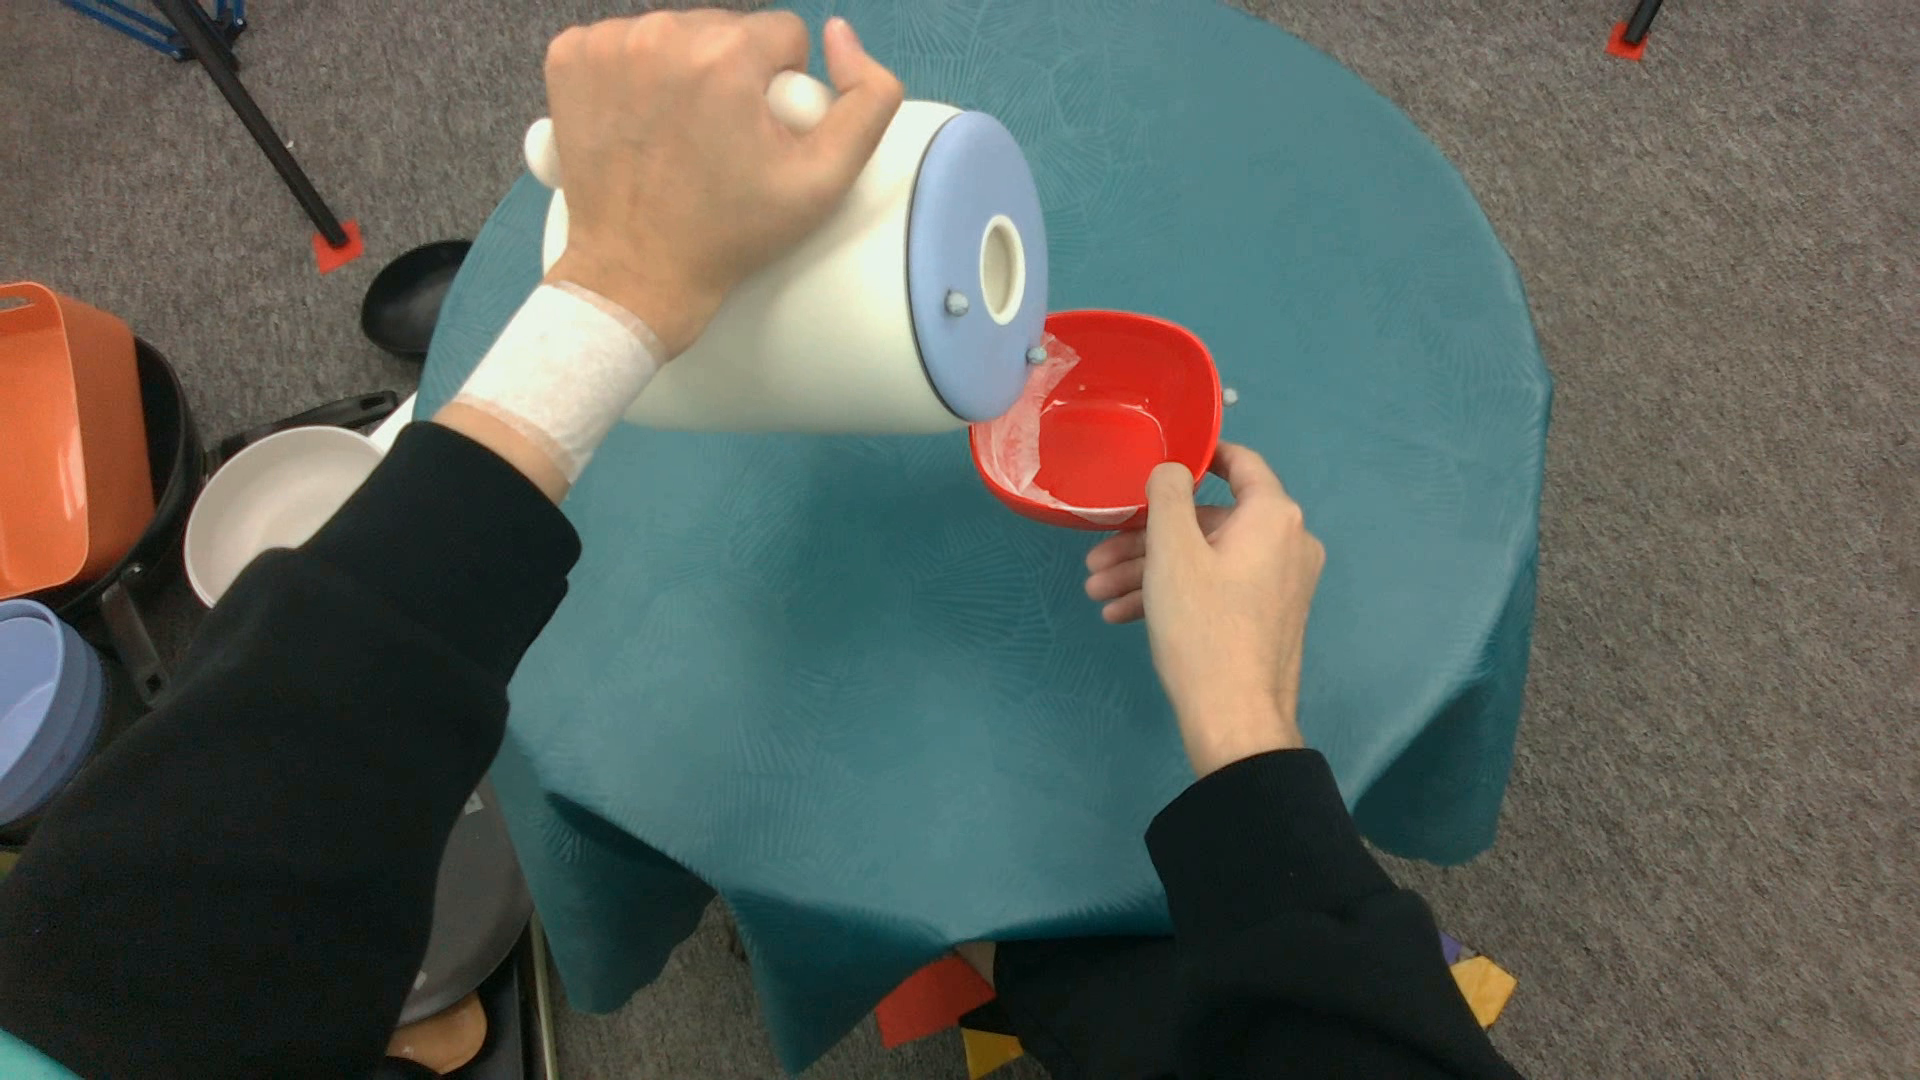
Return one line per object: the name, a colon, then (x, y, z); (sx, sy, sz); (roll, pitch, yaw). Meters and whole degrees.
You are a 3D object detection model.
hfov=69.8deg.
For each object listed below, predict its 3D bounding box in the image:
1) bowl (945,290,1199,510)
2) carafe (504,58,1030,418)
bowl: (0.050, -0.055, 0.619); (0.119, 0.051, 0.119); (-1, 57, 2)
carafe: (-0.083, -0.126, 0.550); (0.182, 0.191, 0.132); (1, 68, 27)
